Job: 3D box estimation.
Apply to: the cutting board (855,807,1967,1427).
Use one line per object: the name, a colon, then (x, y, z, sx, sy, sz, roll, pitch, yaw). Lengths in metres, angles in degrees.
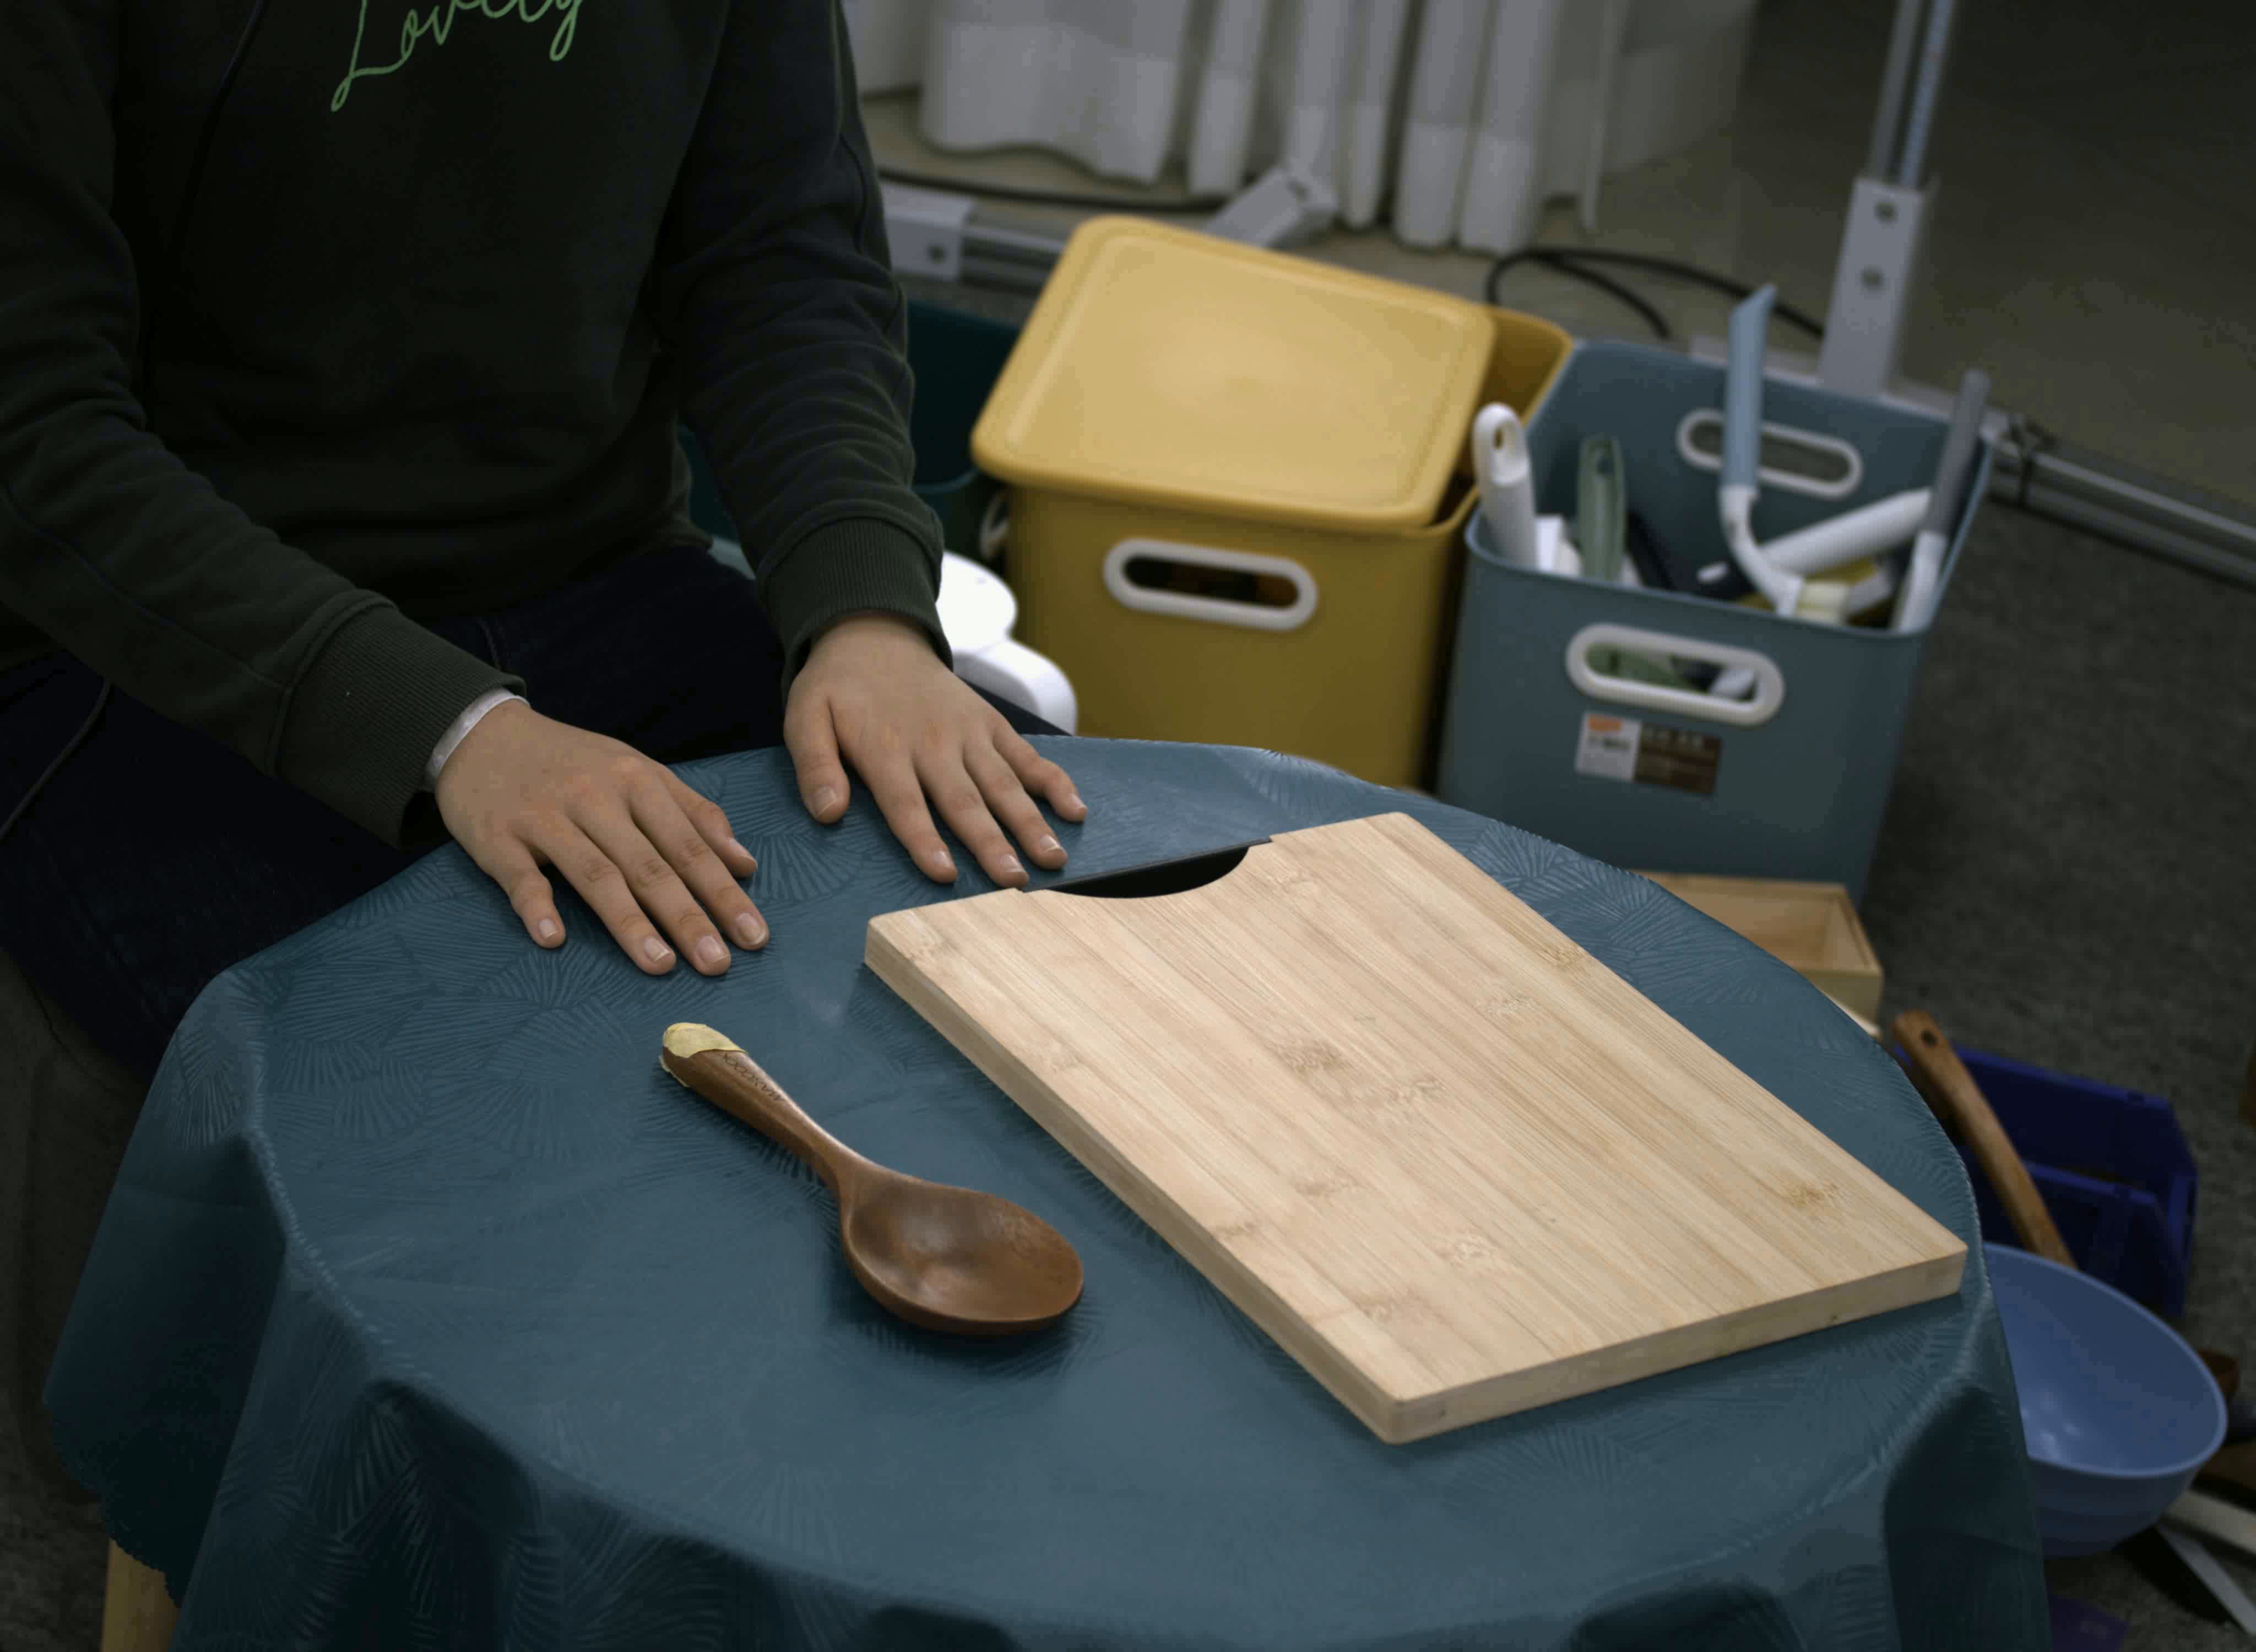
cutting board: (0.091, 0.094, 1.863, 0.249, 0.023, 0.352, -11, 31, -32)

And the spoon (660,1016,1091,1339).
spoon: (-0.091, 0.117, 1.773, 0.075, 0.017, 0.218, -15, 34, -34)
